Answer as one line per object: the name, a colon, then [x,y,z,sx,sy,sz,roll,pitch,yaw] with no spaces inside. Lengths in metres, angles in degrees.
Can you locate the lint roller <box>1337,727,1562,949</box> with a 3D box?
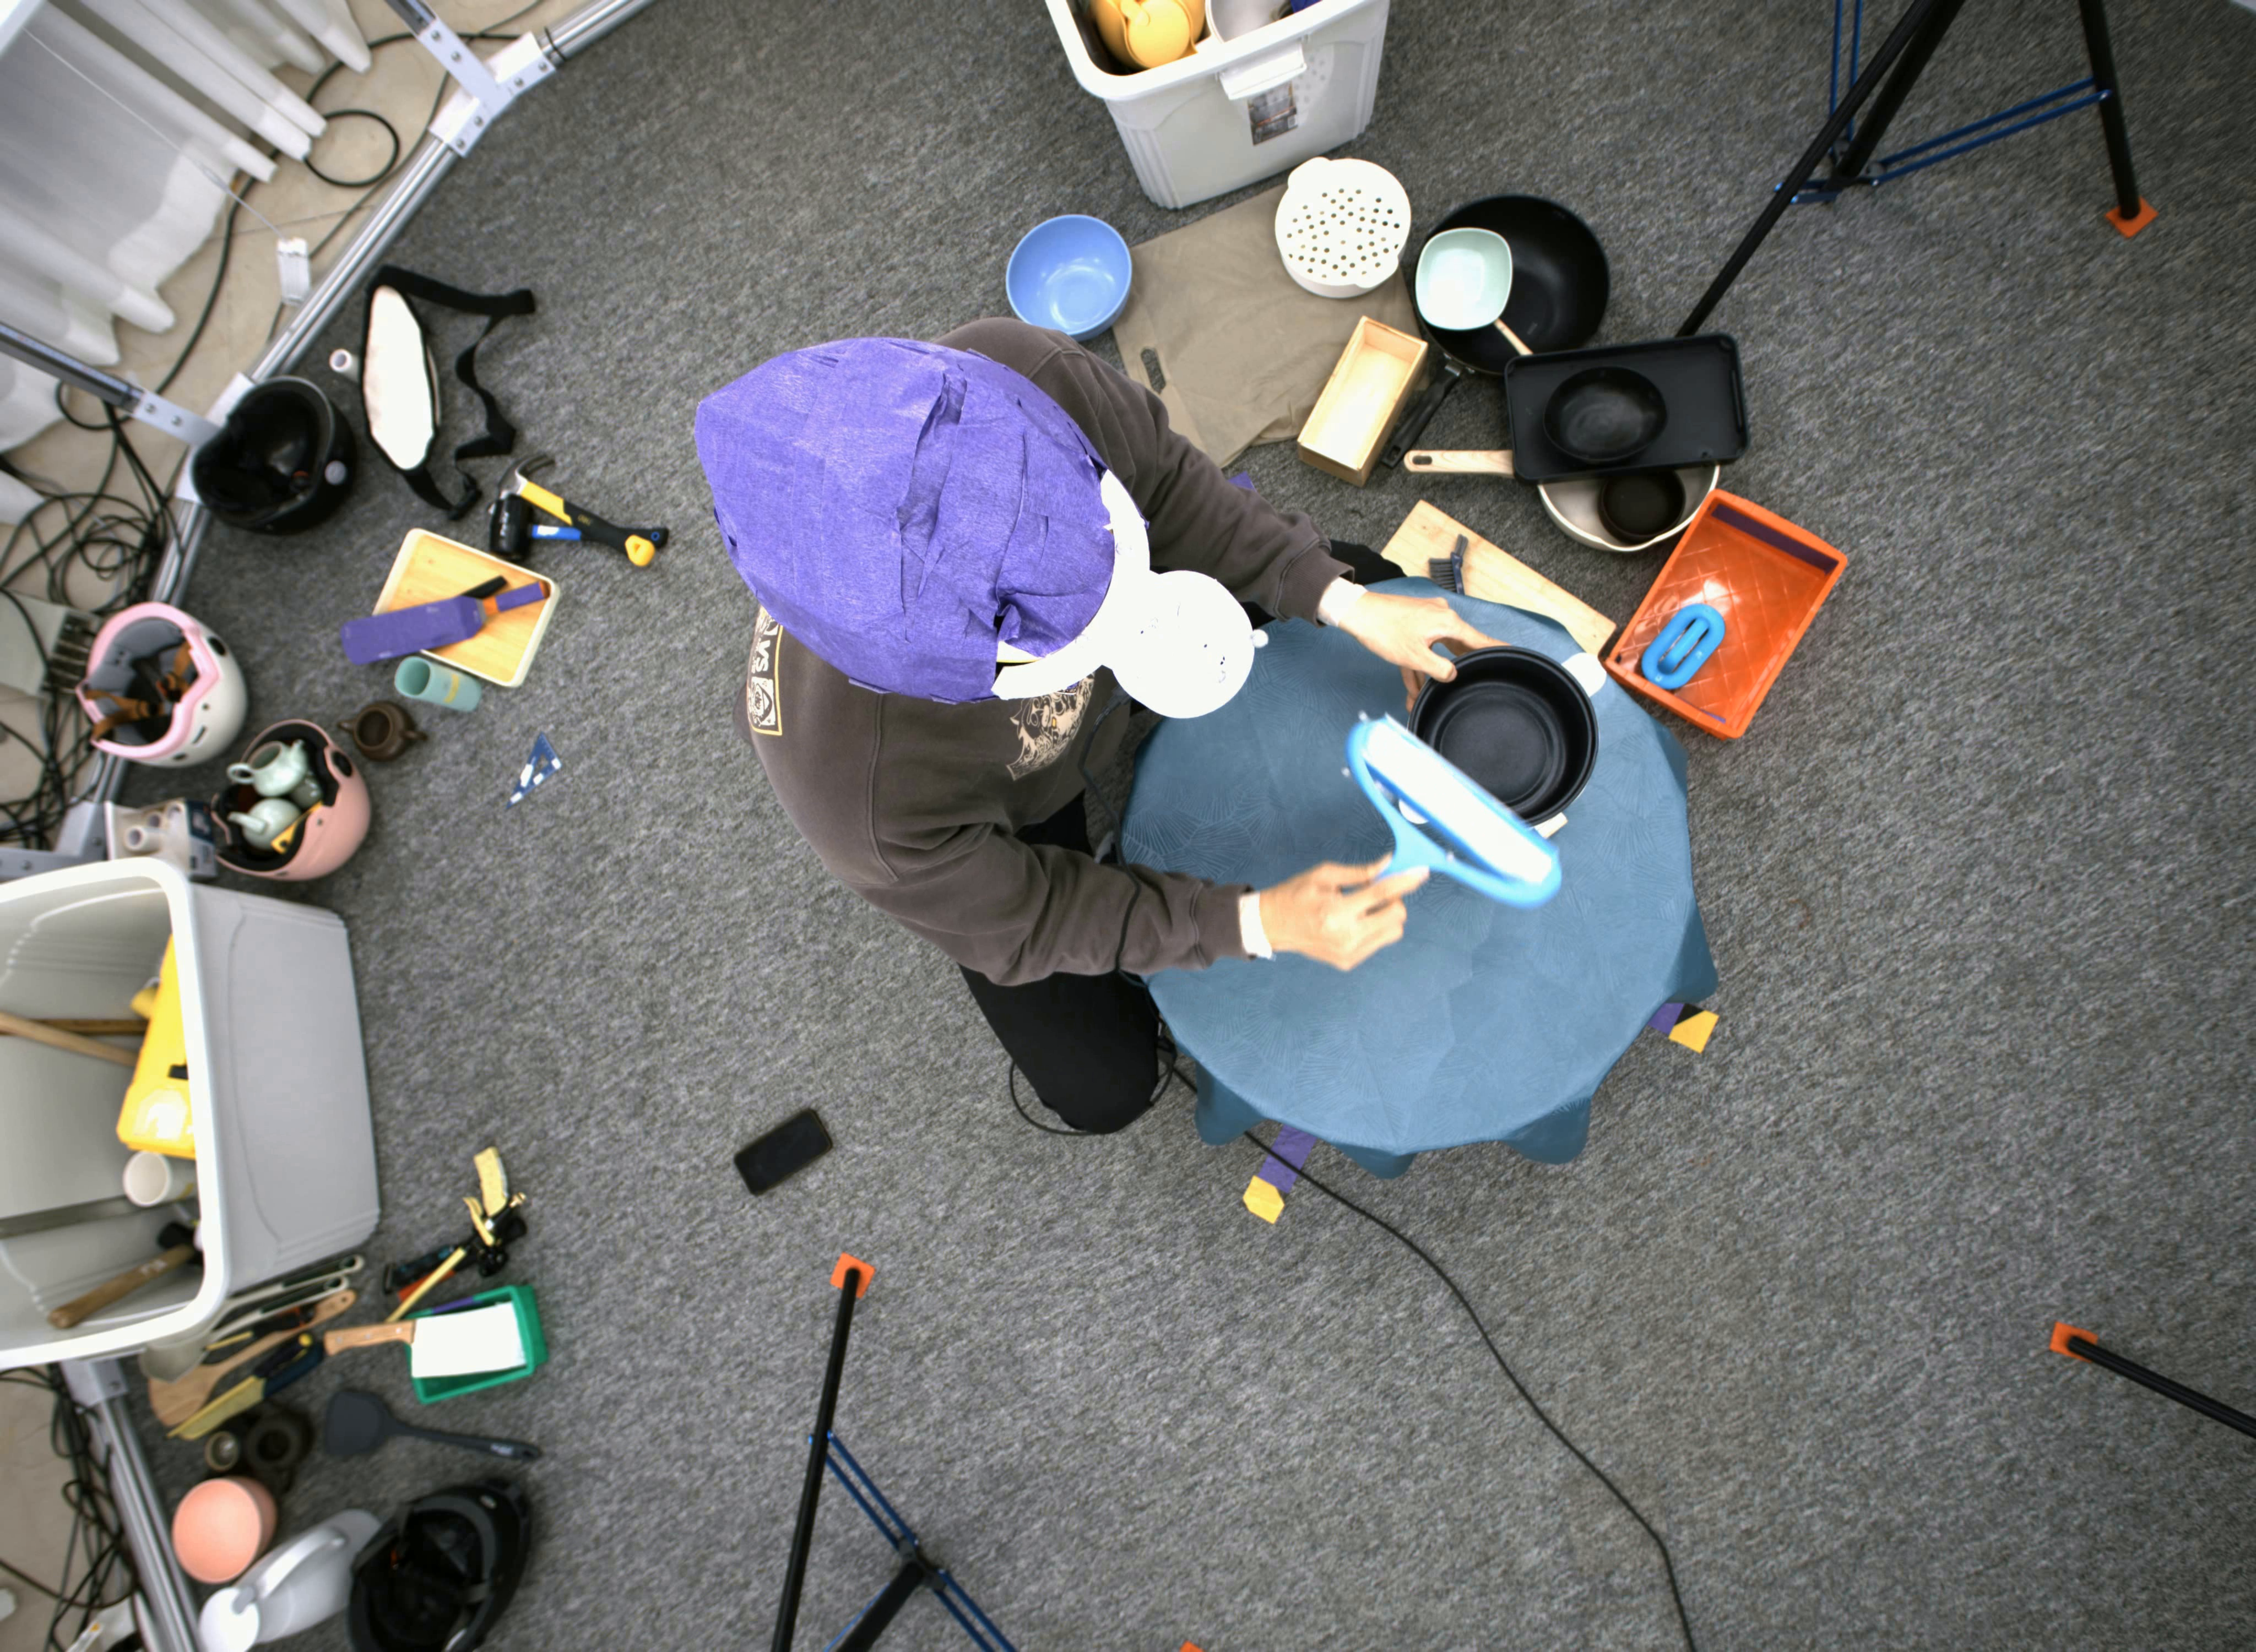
lint roller: [0.254,0.036,1.223,0.228,0.068,0.179,40,86,9]

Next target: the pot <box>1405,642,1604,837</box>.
pot: [0.374,-0.078,1.375,0.242,0.143,0.189,-40,77,7]
